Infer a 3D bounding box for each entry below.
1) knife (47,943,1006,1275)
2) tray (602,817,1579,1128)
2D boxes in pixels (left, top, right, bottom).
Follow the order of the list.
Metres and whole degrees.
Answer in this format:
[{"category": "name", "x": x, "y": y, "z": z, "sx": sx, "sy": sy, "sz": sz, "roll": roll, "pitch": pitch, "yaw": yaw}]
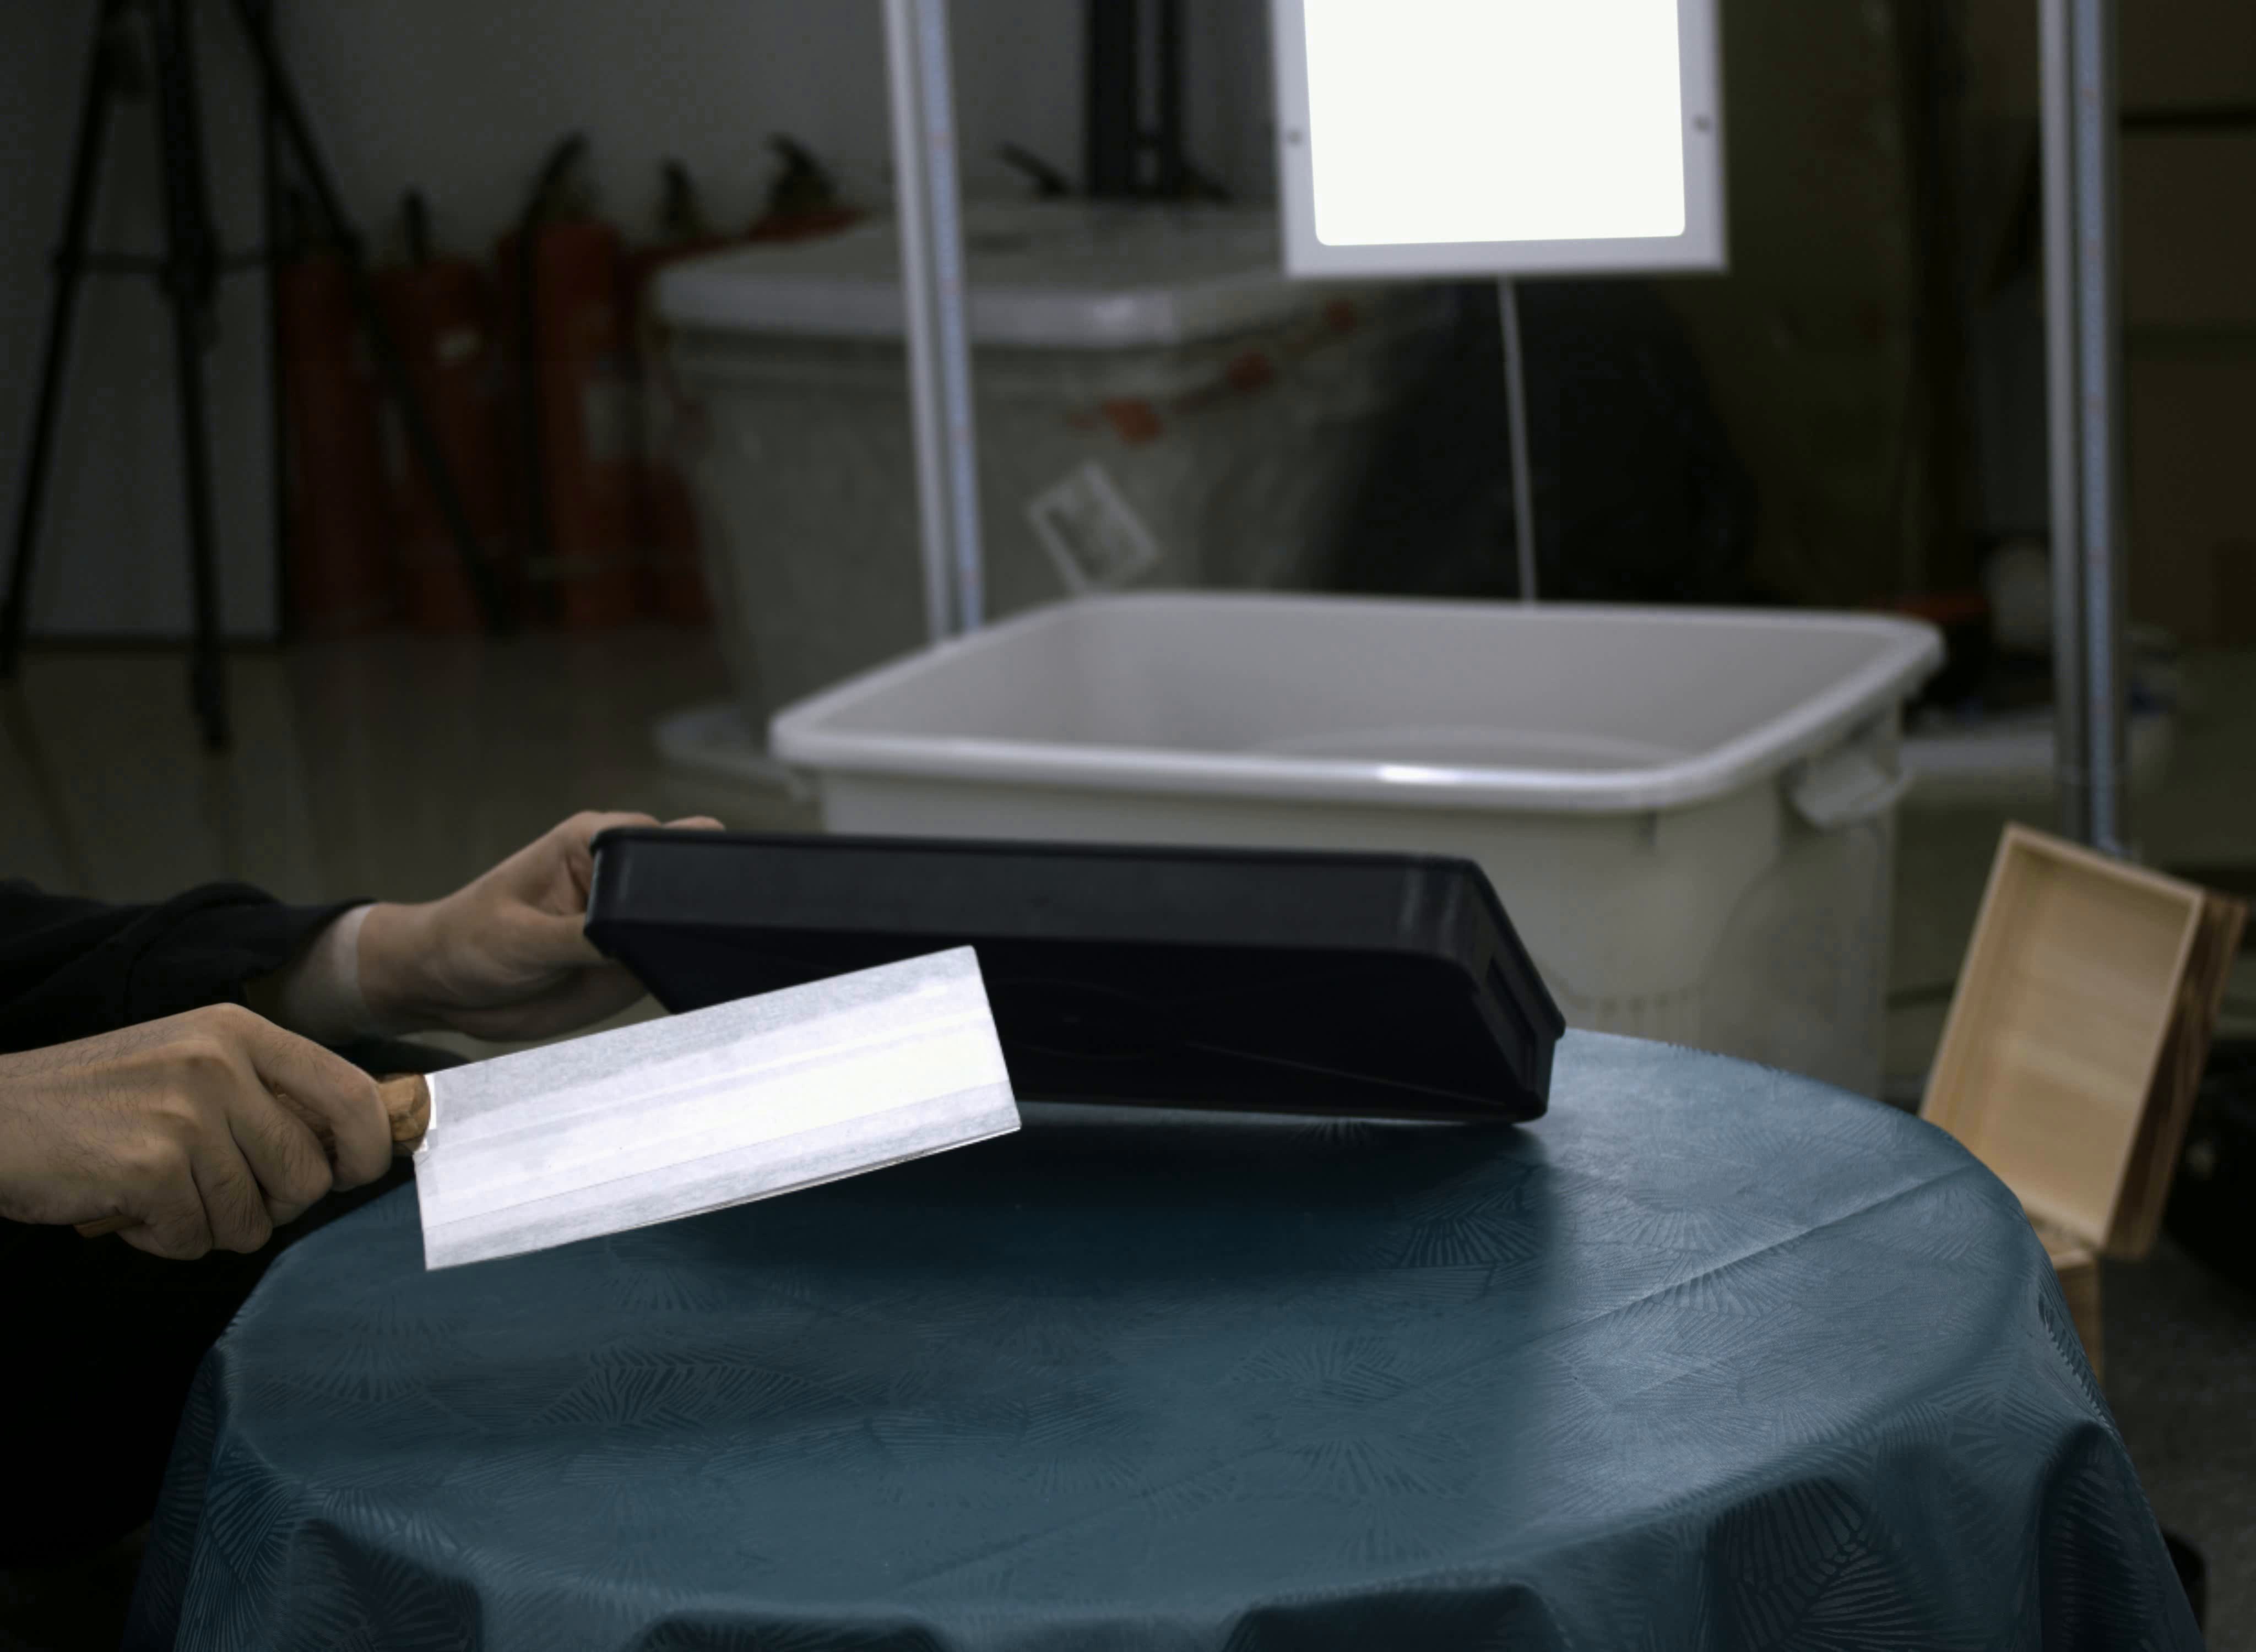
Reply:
[{"category": "knife", "x": -0.189, "y": 0.100, "z": 1.743, "sx": 0.304, "sy": 0.021, "sz": 0.093, "roll": -14, "pitch": 41, "yaw": -1}, {"category": "tray", "x": -0.011, "y": 0.052, "z": 1.906, "sx": 0.321, "sy": 0.037, "sz": 0.183, "roll": 2, "pitch": -22, "yaw": 17}]
